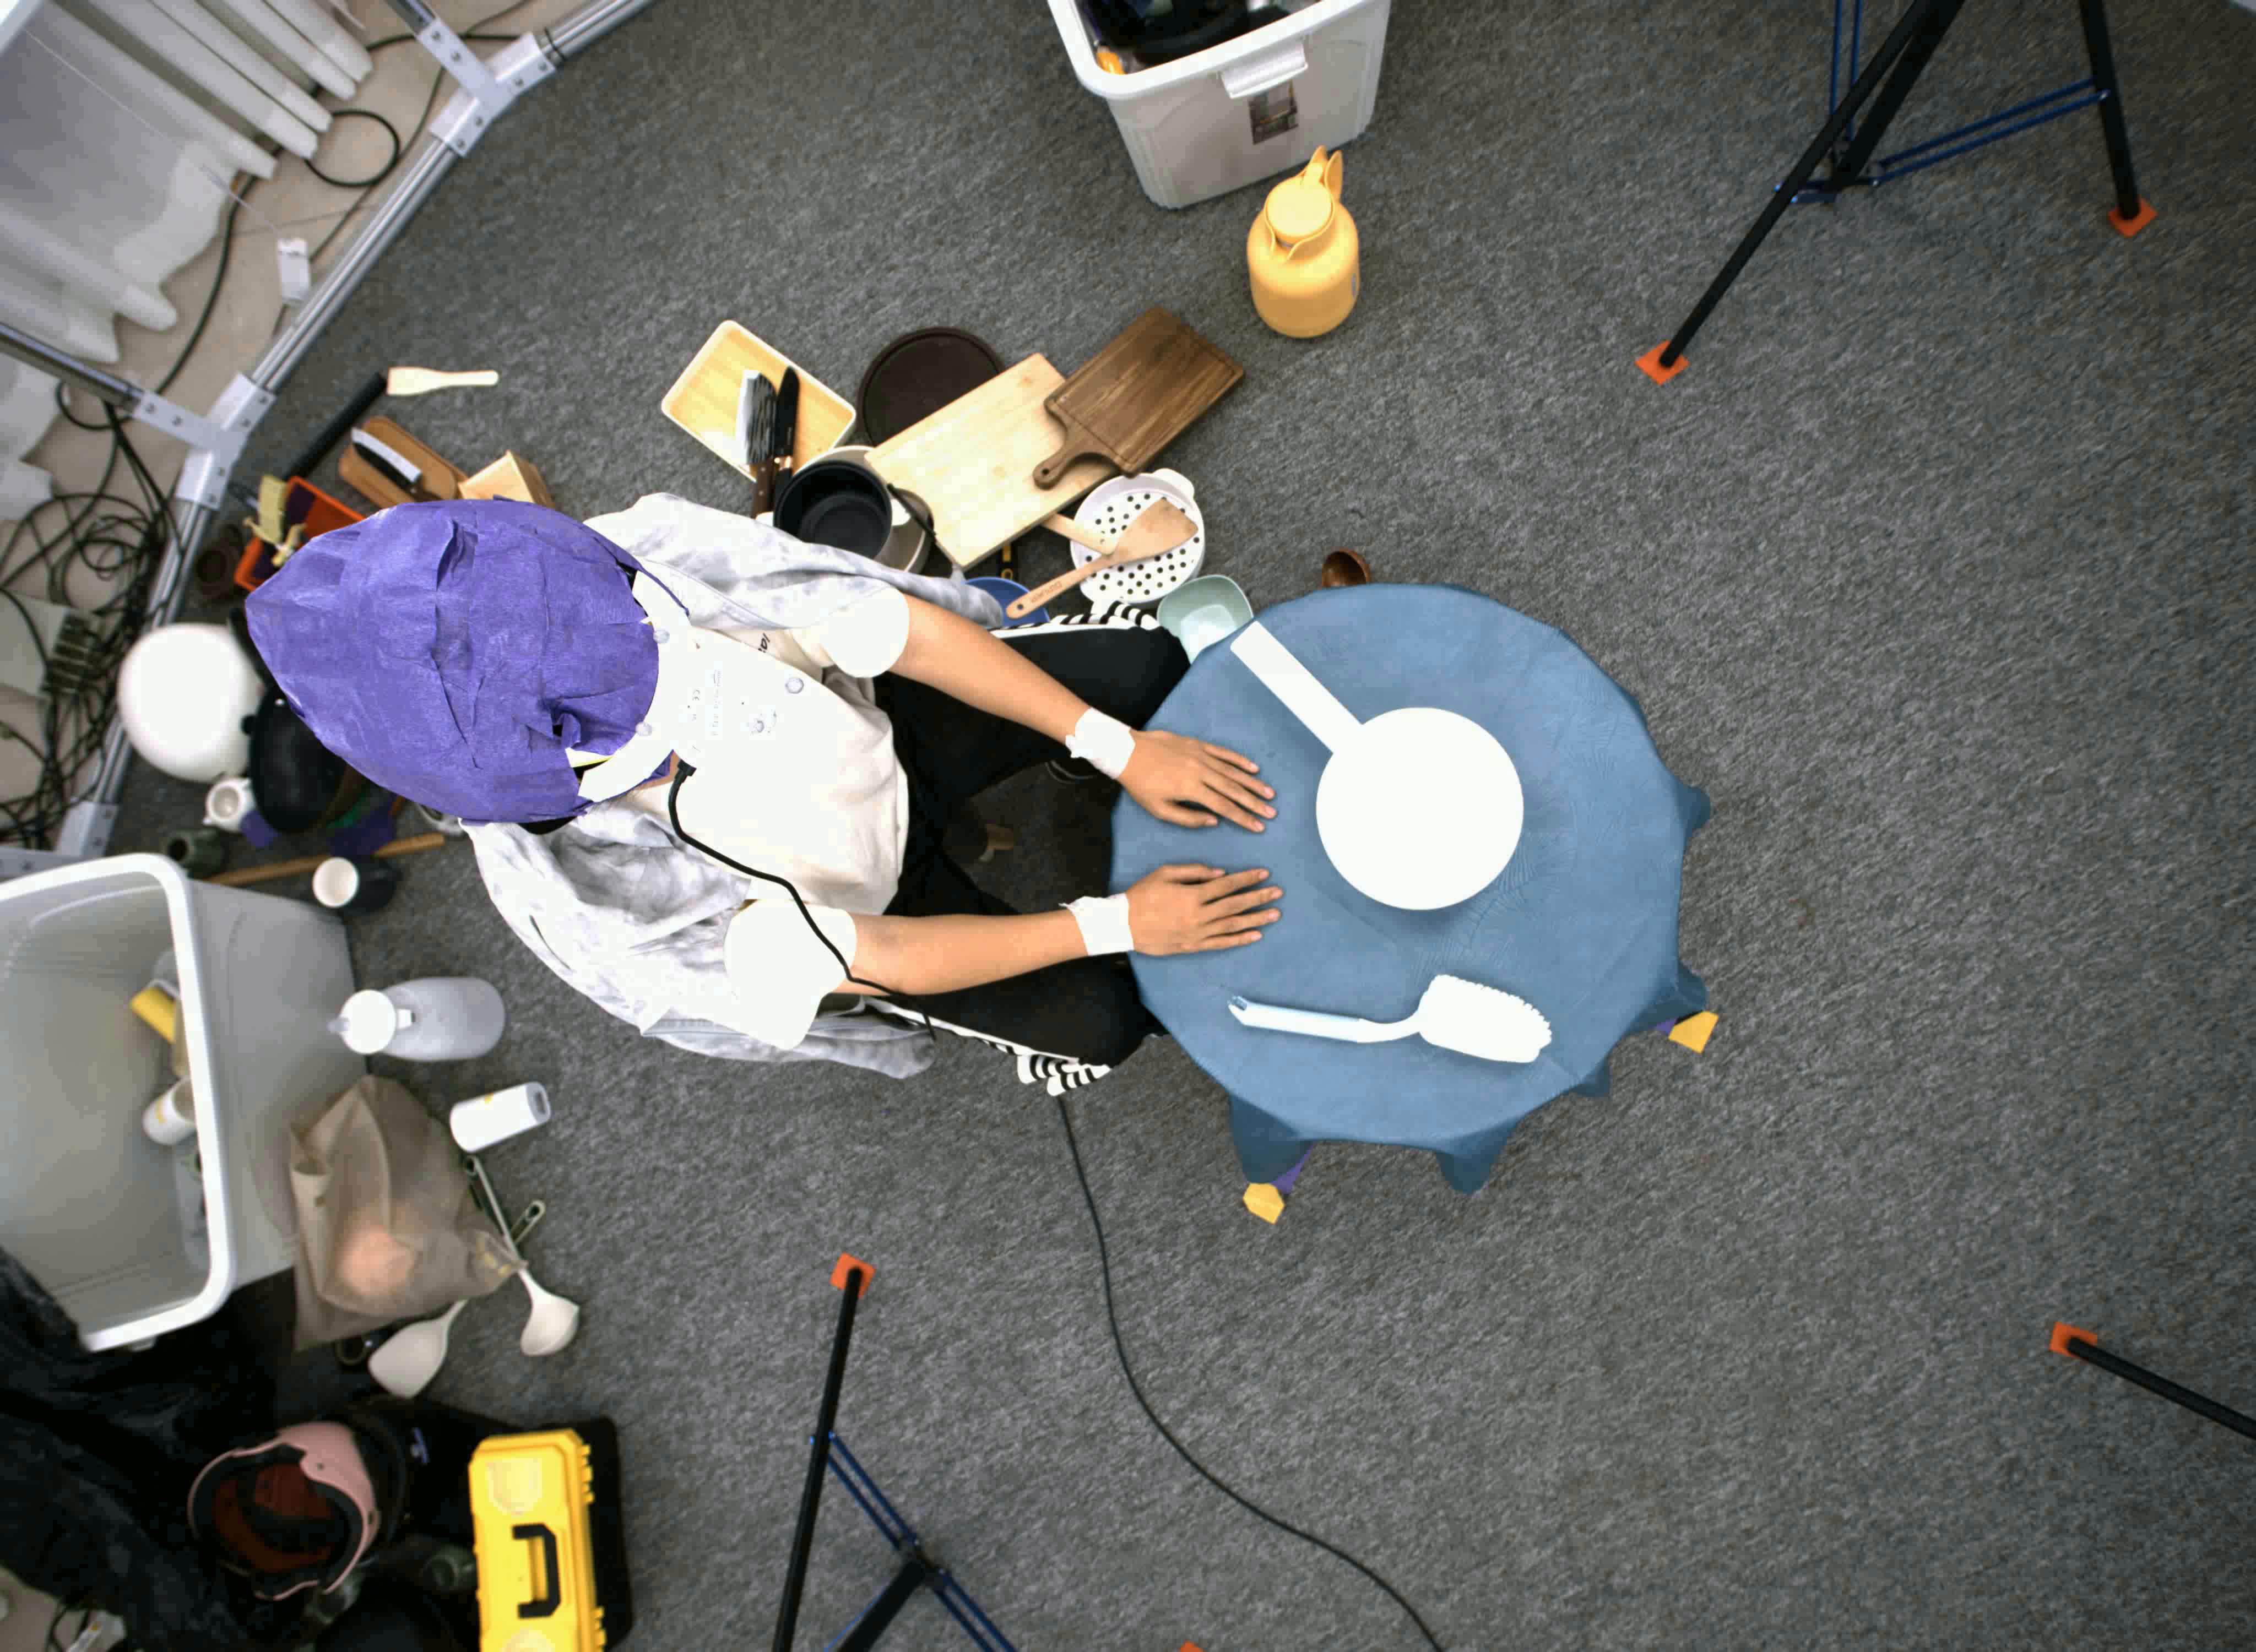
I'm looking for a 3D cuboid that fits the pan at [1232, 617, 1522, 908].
[{"bbox_3d":[0.243,-0.071,1.419,0.202,0.102,0.353,-44,80,5],"label":"pan"}]

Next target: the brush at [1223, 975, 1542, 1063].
[{"bbox_3d":[0.258,0.186,1.412,0.326,0.082,0.085,7,94,10],"label":"brush"}]
